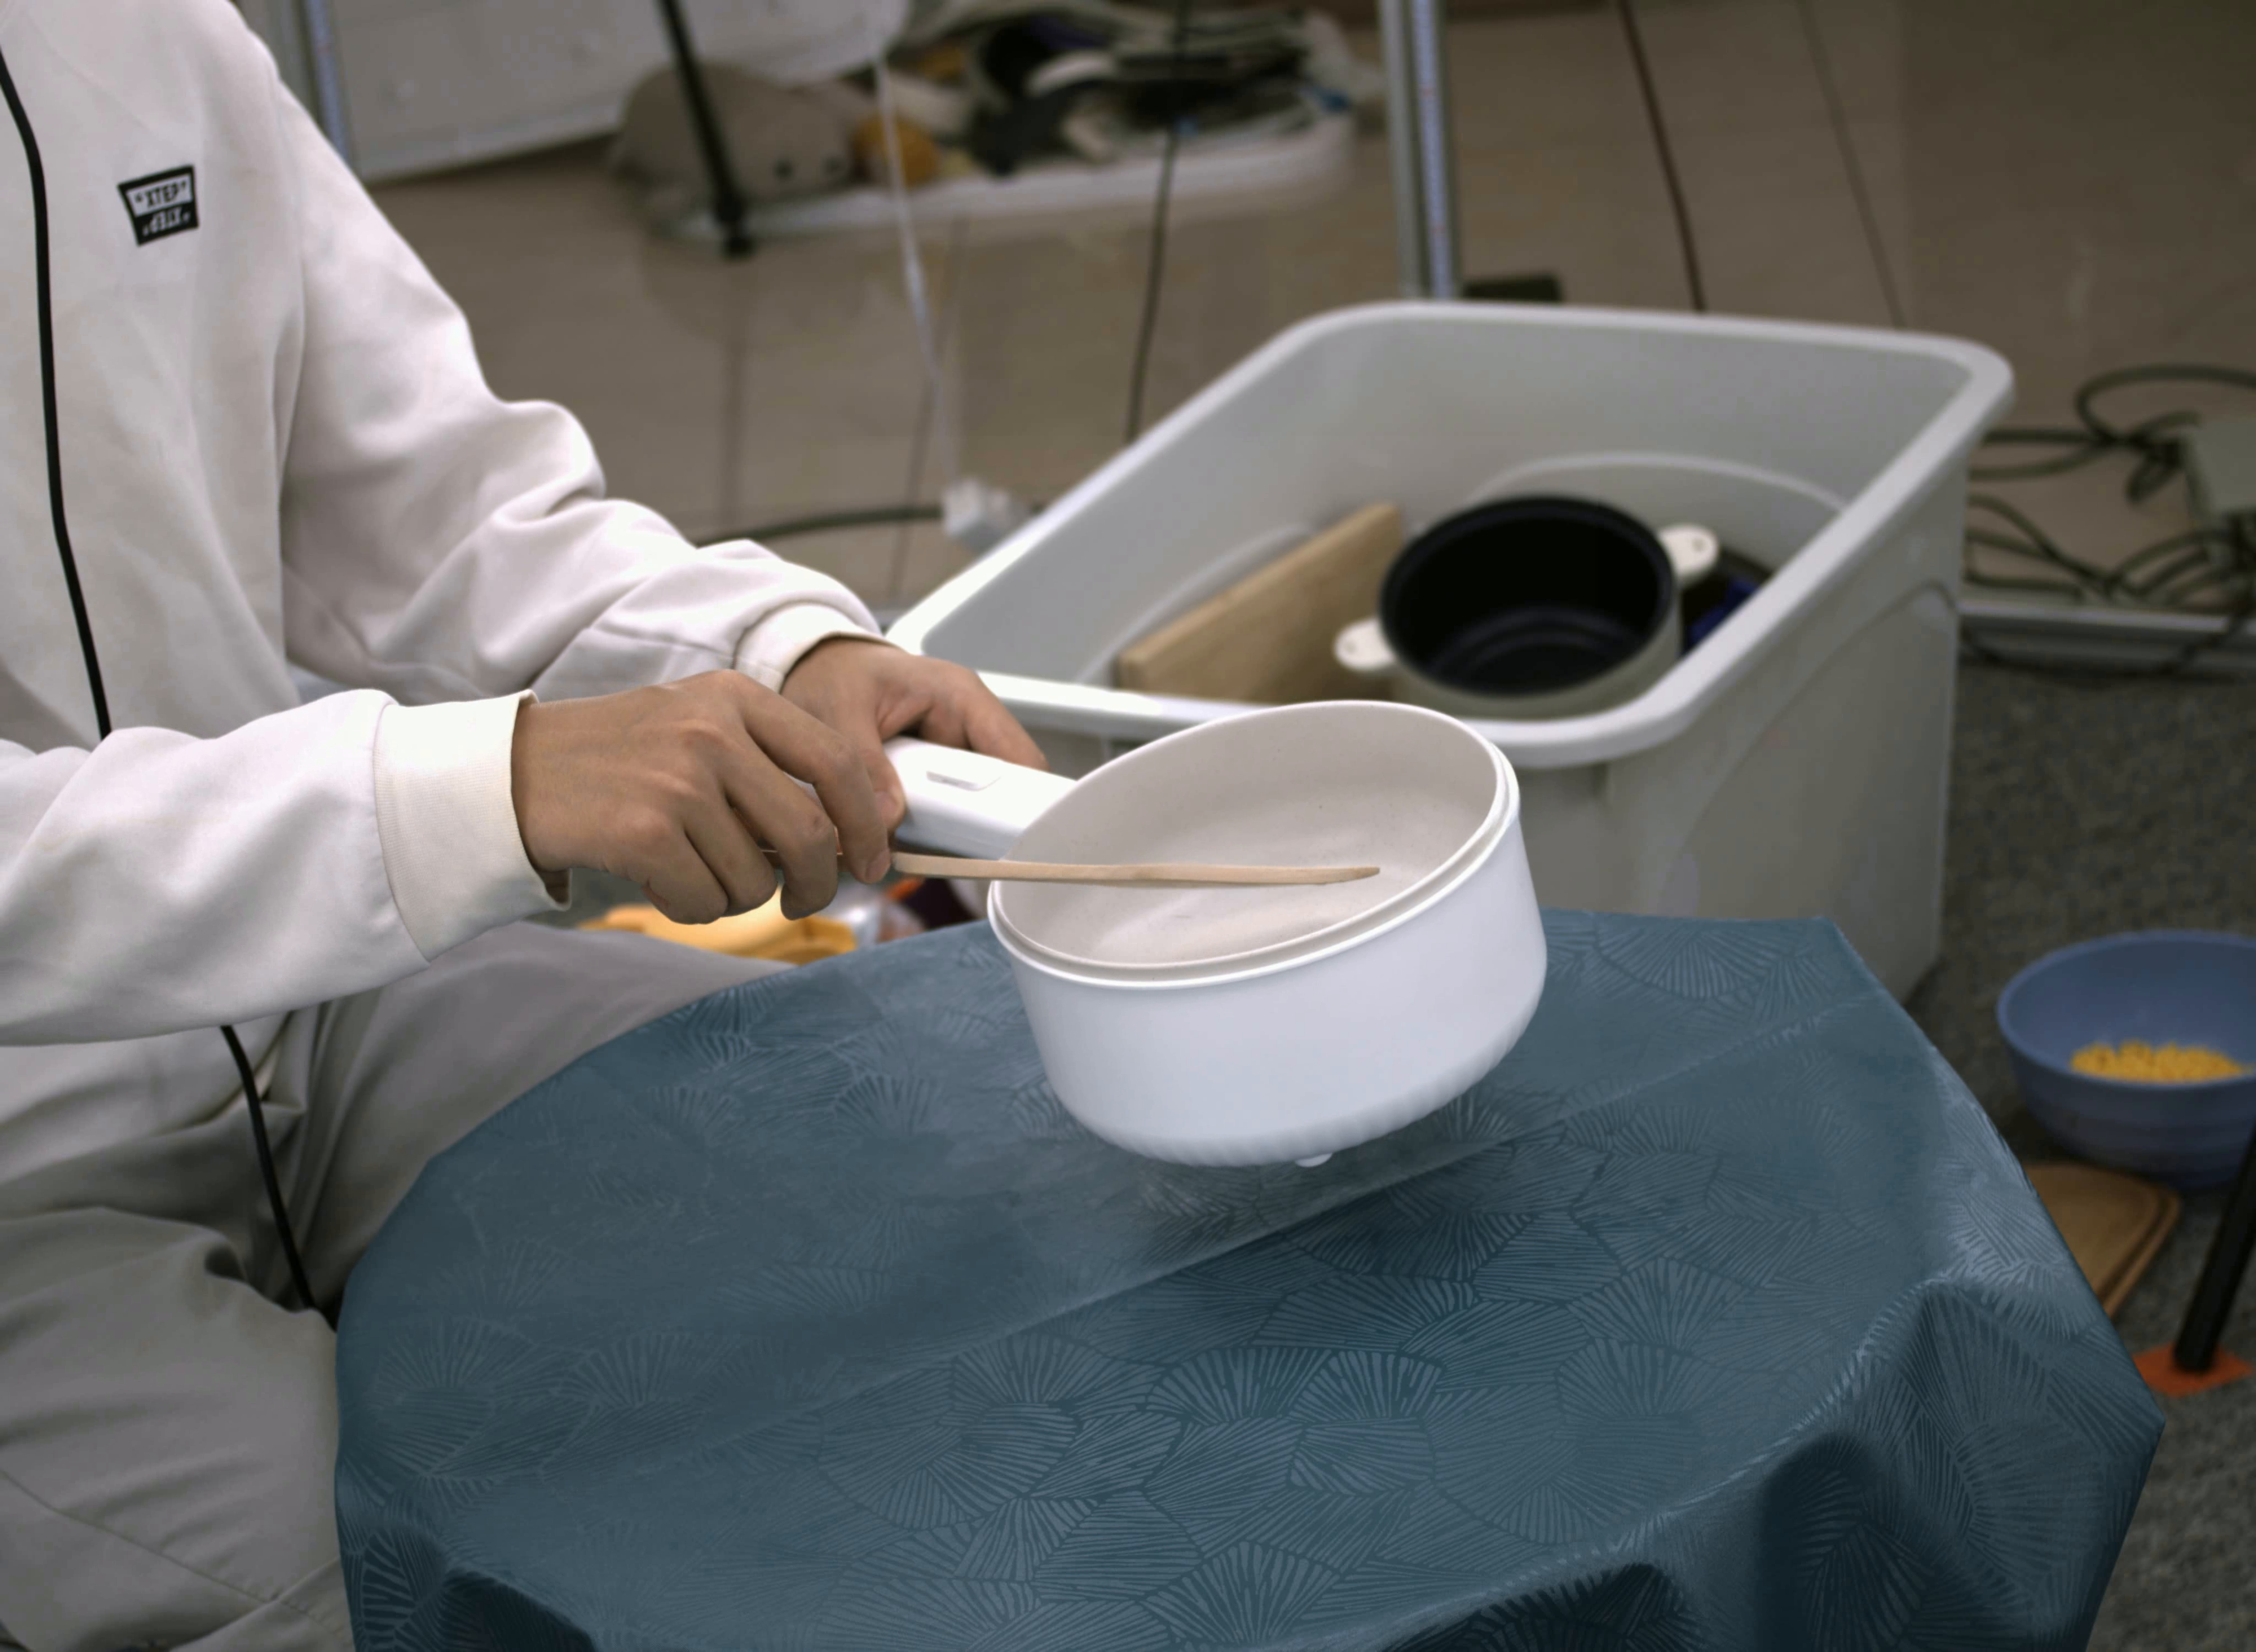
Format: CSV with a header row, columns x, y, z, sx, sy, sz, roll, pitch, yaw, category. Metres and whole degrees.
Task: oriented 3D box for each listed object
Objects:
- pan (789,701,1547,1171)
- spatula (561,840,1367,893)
x,y,z,sx,sy,sz,roll,pitch,yaw,category
0.004,0.032,2.163,0.199,0.104,0.352,-36,32,-32,pan
-0.060,0.015,2.044,0.293,0.010,0.072,3,-3,-17,spatula
